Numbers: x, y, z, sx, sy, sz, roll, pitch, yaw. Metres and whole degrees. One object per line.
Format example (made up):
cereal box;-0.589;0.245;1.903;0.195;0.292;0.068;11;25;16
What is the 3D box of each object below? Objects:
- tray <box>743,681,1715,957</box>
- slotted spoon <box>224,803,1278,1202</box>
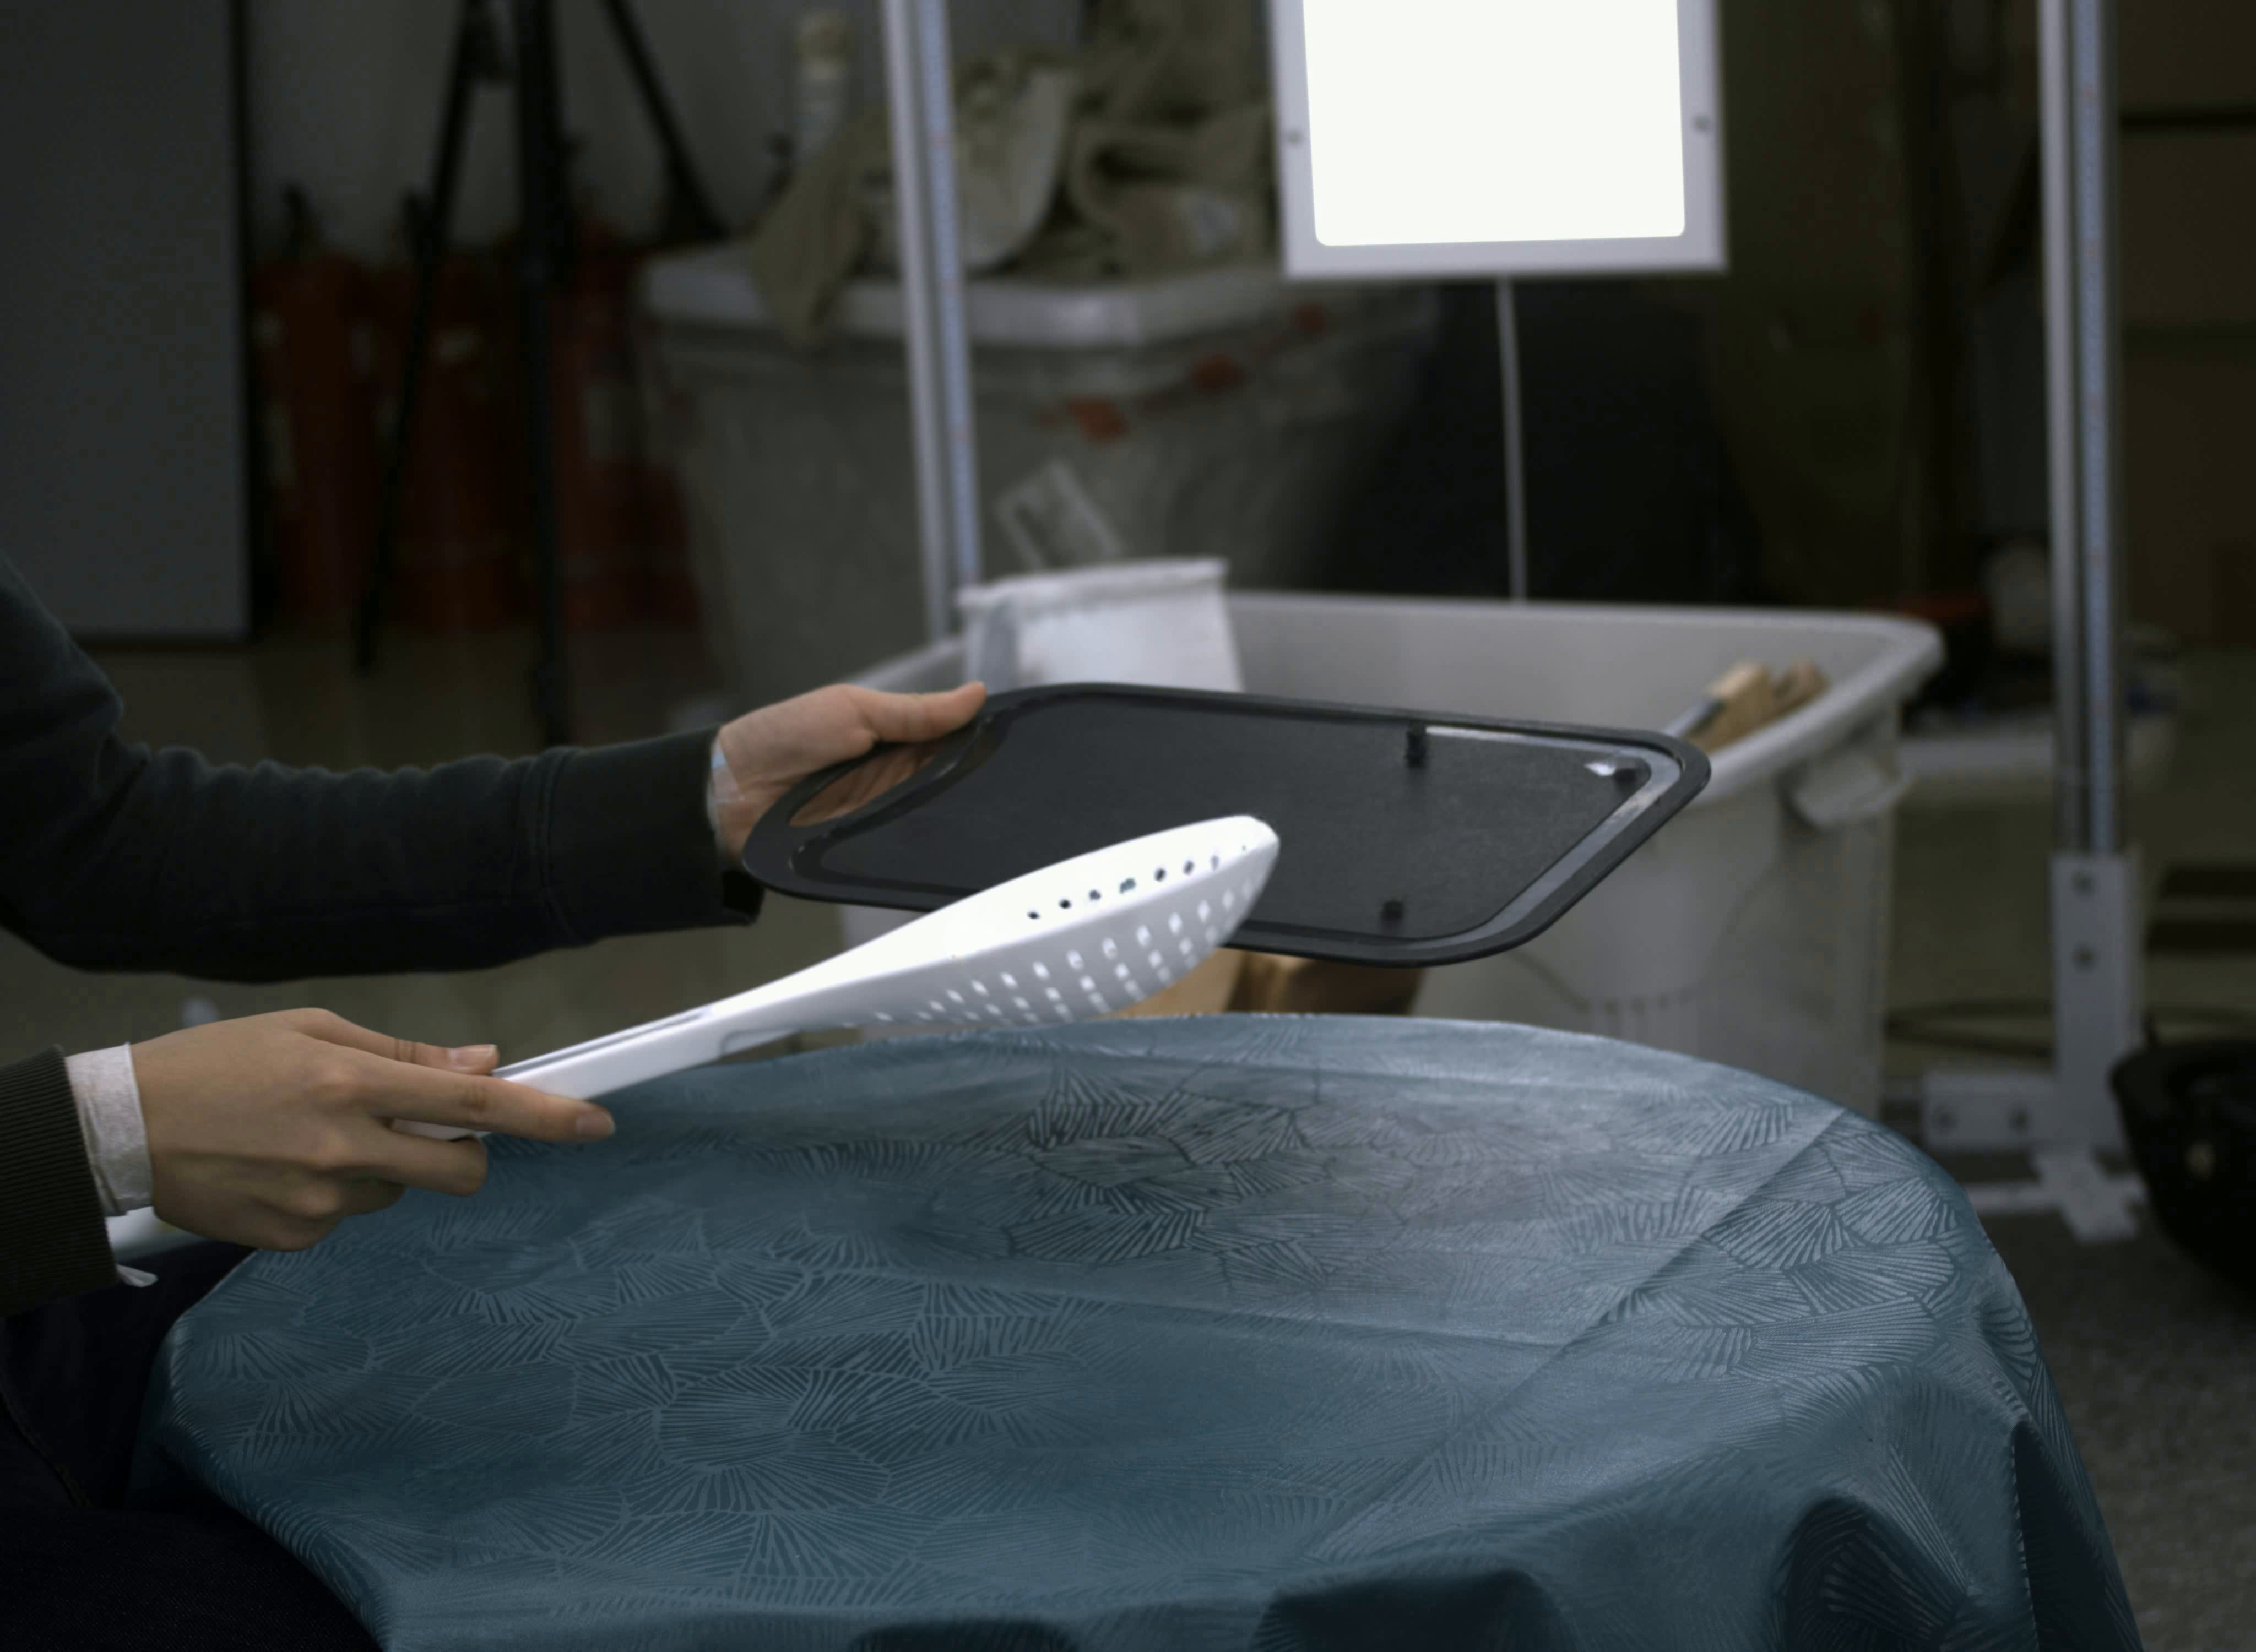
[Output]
tray;0.027;-0.007;1.905;0.331;0.010;0.206;6;25;32
slotted spoon;-0.117;0.056;1.717;0.351;0.046;0.135;-14;5;7
